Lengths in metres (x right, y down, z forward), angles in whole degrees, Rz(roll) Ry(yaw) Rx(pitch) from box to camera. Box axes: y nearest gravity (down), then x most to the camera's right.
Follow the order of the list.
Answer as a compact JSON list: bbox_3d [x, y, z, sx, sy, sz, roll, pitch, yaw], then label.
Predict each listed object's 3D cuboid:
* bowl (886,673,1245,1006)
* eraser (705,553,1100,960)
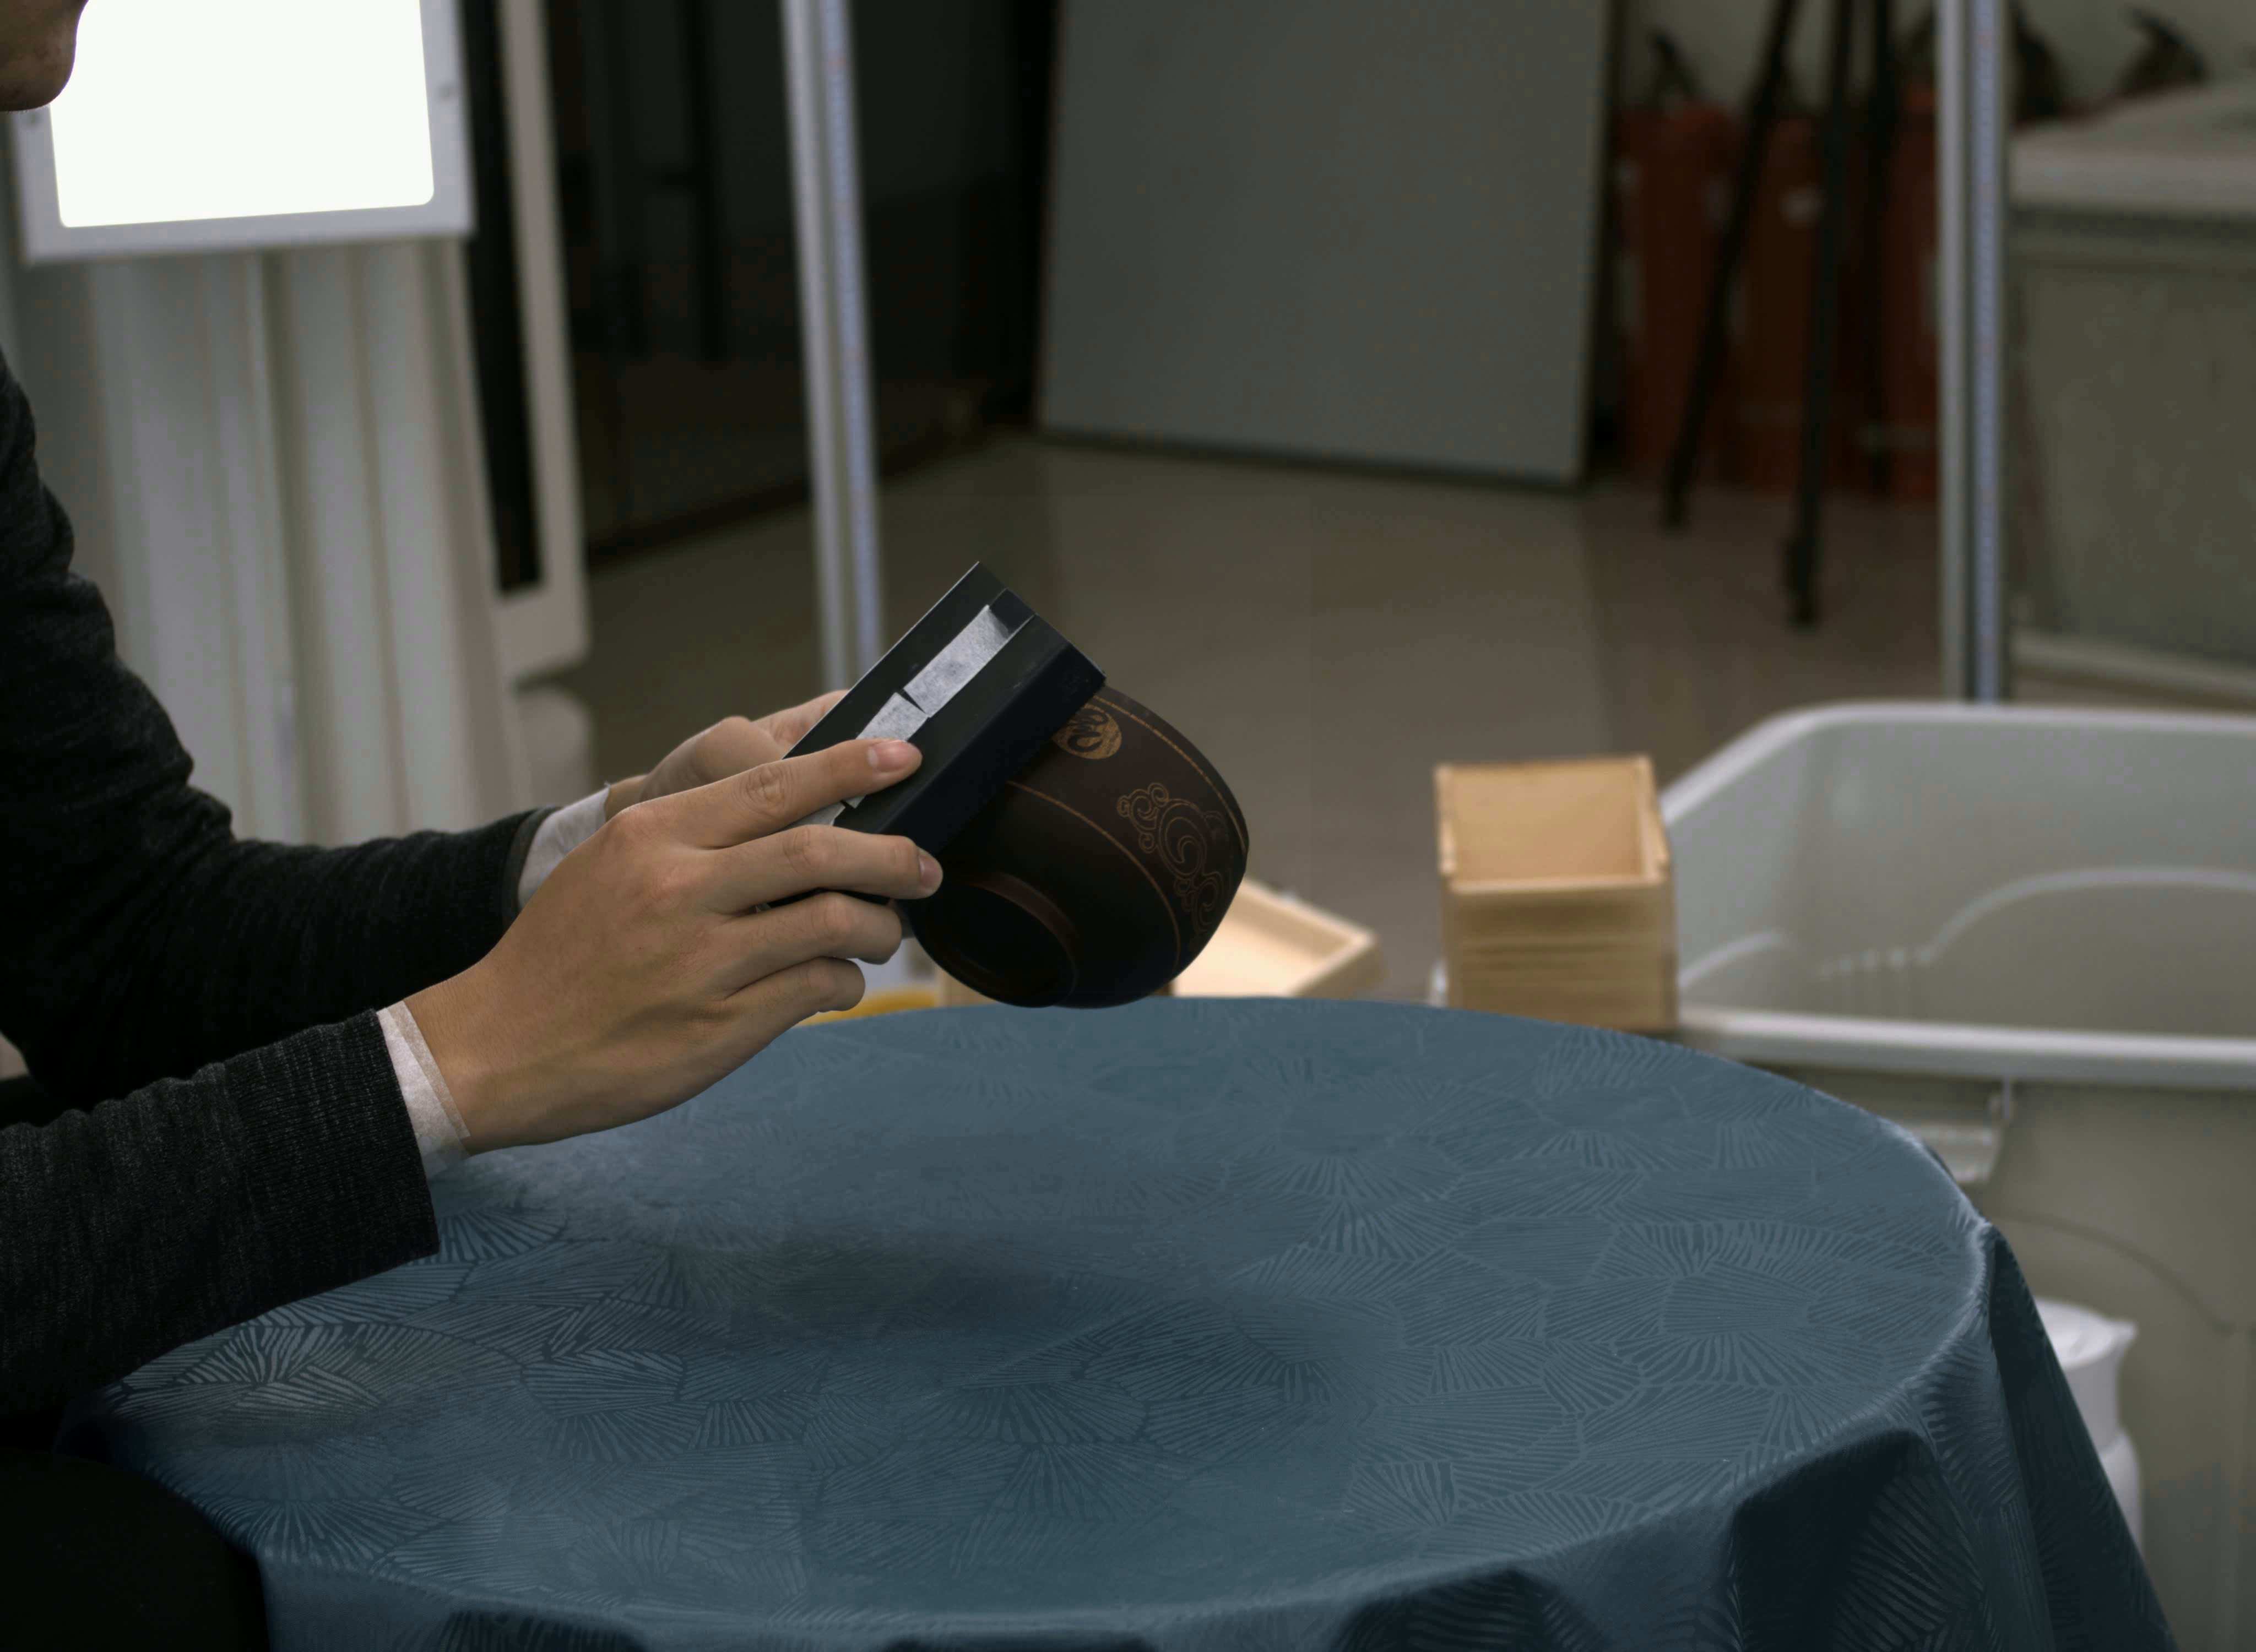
[{"bbox_3d":[-0.029,0.010,1.662,0.118,0.117,0.070,6,50,34],"label":"bowl"},{"bbox_3d":[-0.067,-0.022,1.616,0.125,0.030,0.054,-47,48,-5],"label":"eraser"}]
